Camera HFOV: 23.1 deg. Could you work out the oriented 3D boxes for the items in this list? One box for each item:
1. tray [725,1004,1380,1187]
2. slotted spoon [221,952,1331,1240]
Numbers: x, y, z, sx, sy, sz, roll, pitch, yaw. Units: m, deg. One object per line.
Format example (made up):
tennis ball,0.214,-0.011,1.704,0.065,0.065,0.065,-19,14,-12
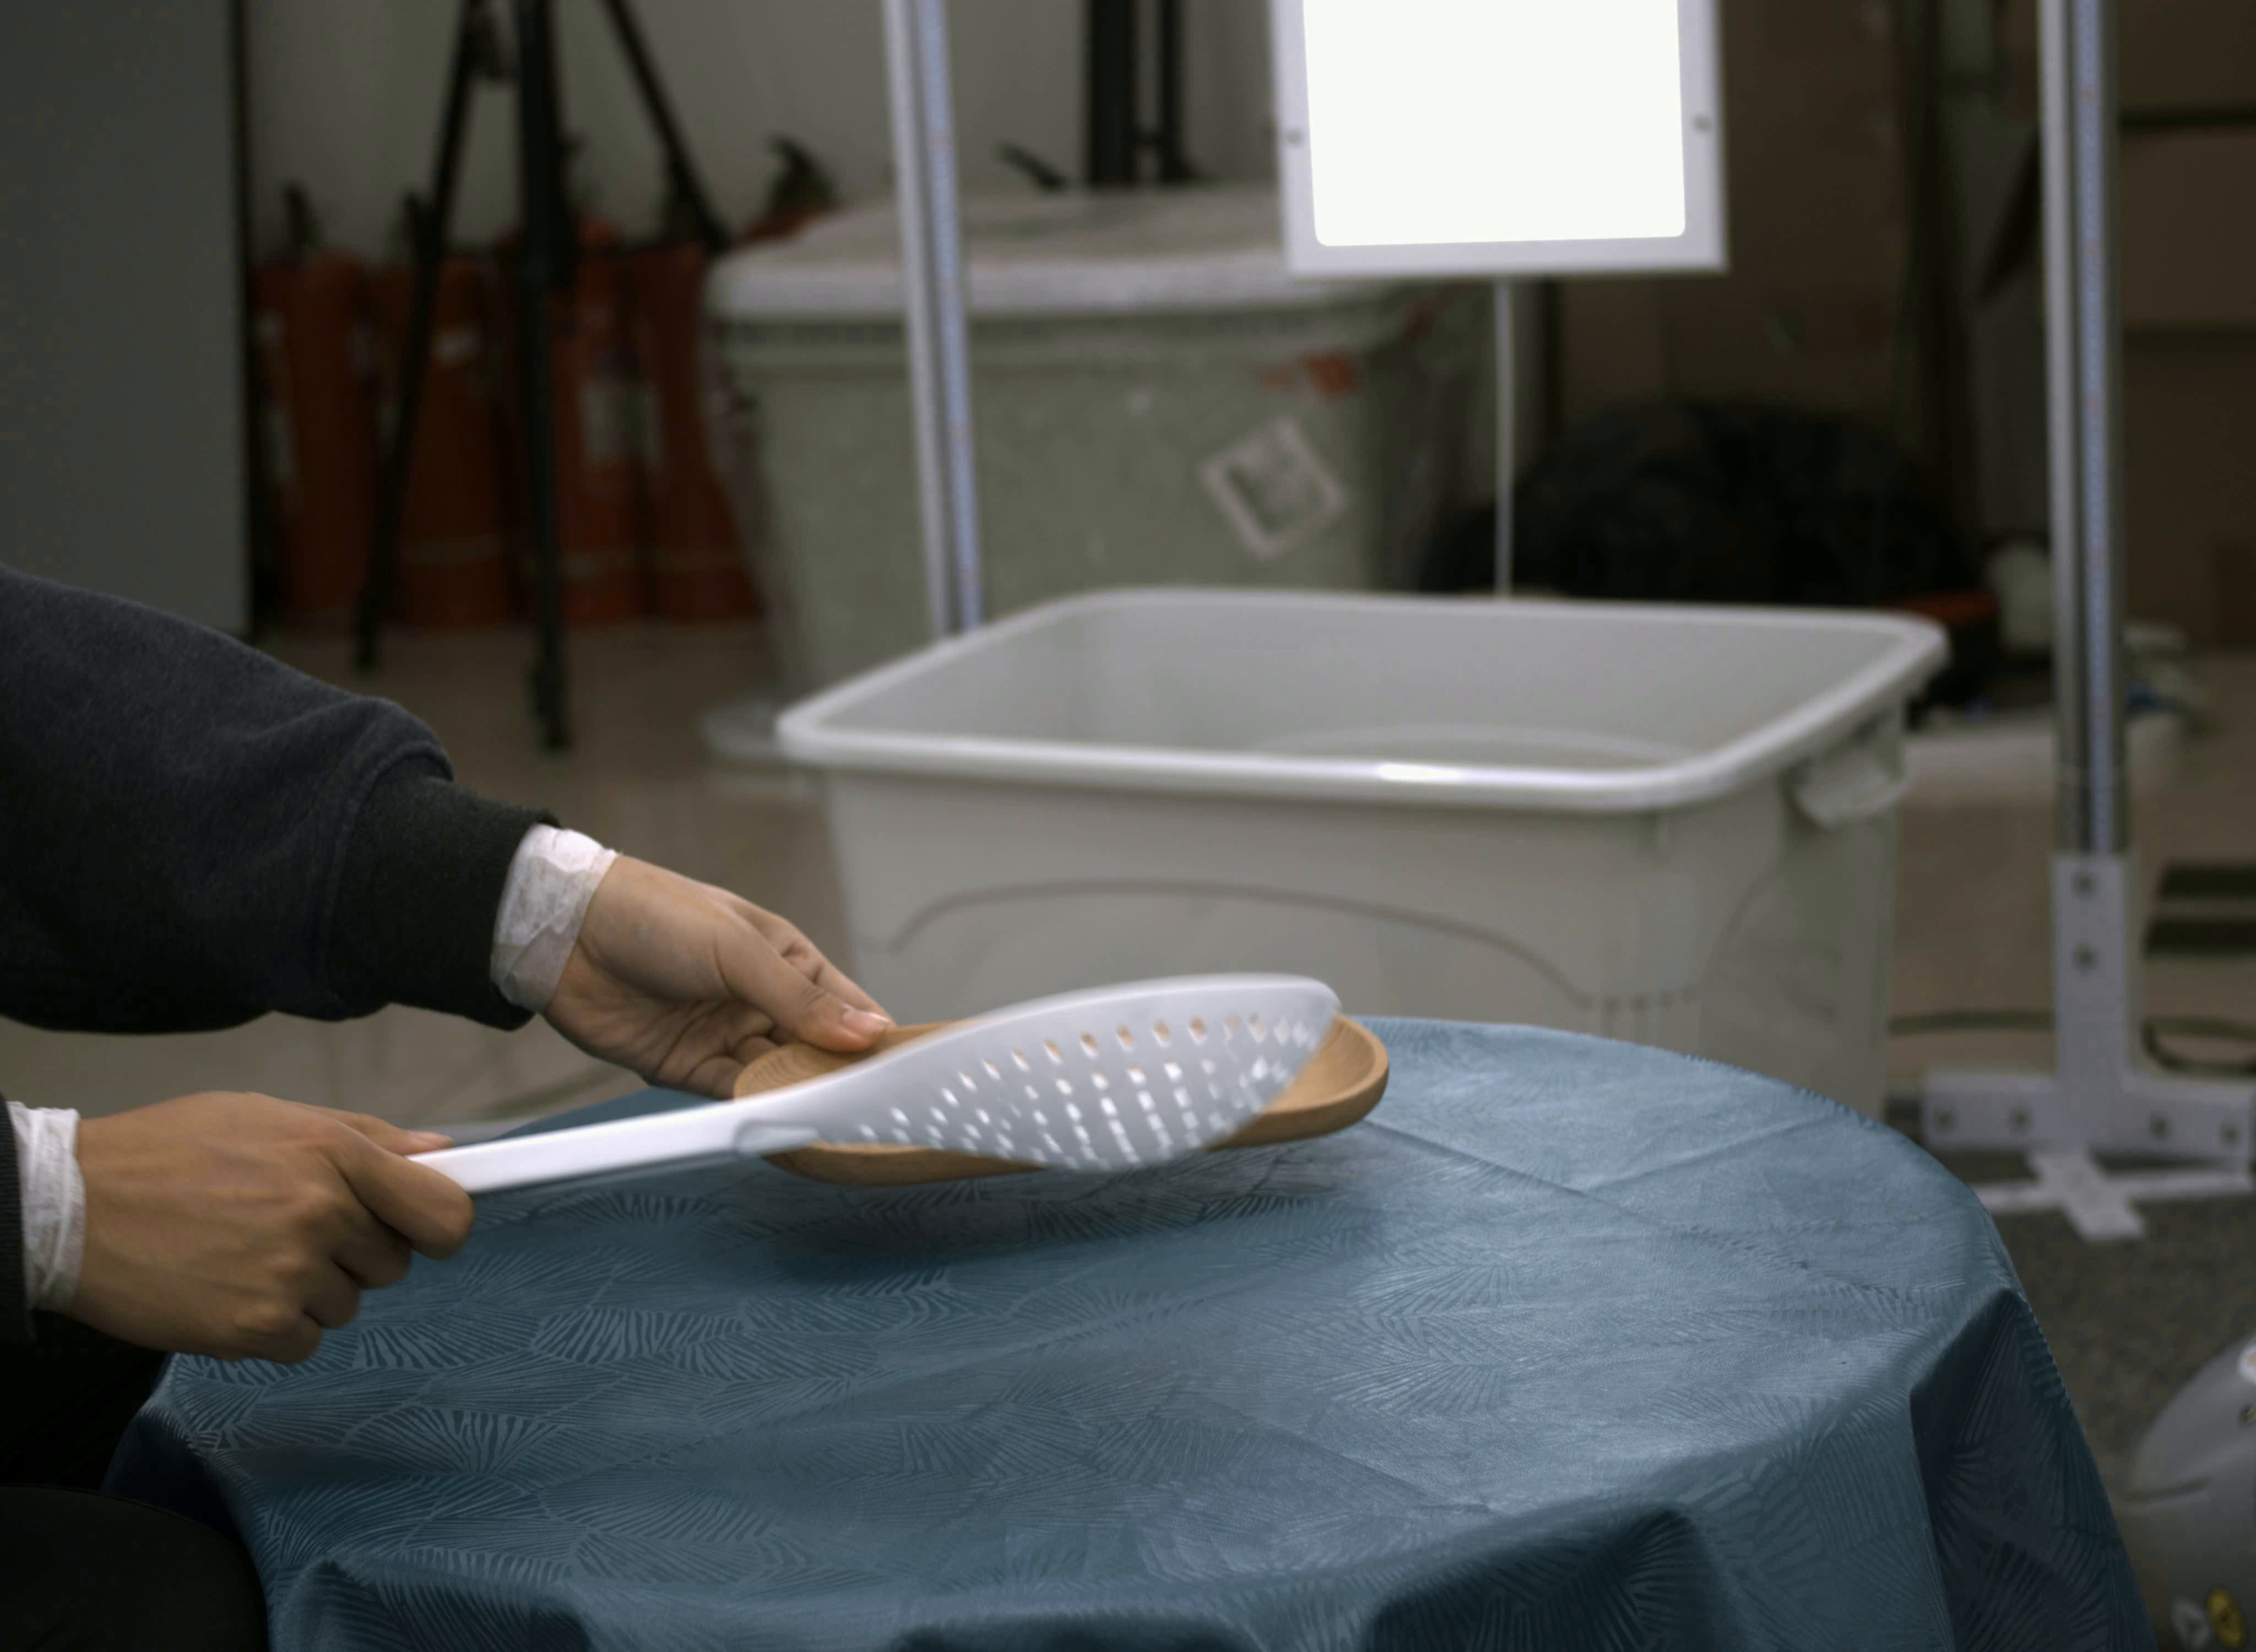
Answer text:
tray,-0.025,0.090,1.885,0.227,0.020,0.103,-7,22,-16
slotted spoon,-0.109,0.086,1.685,0.352,0.046,0.135,-7,-14,11
